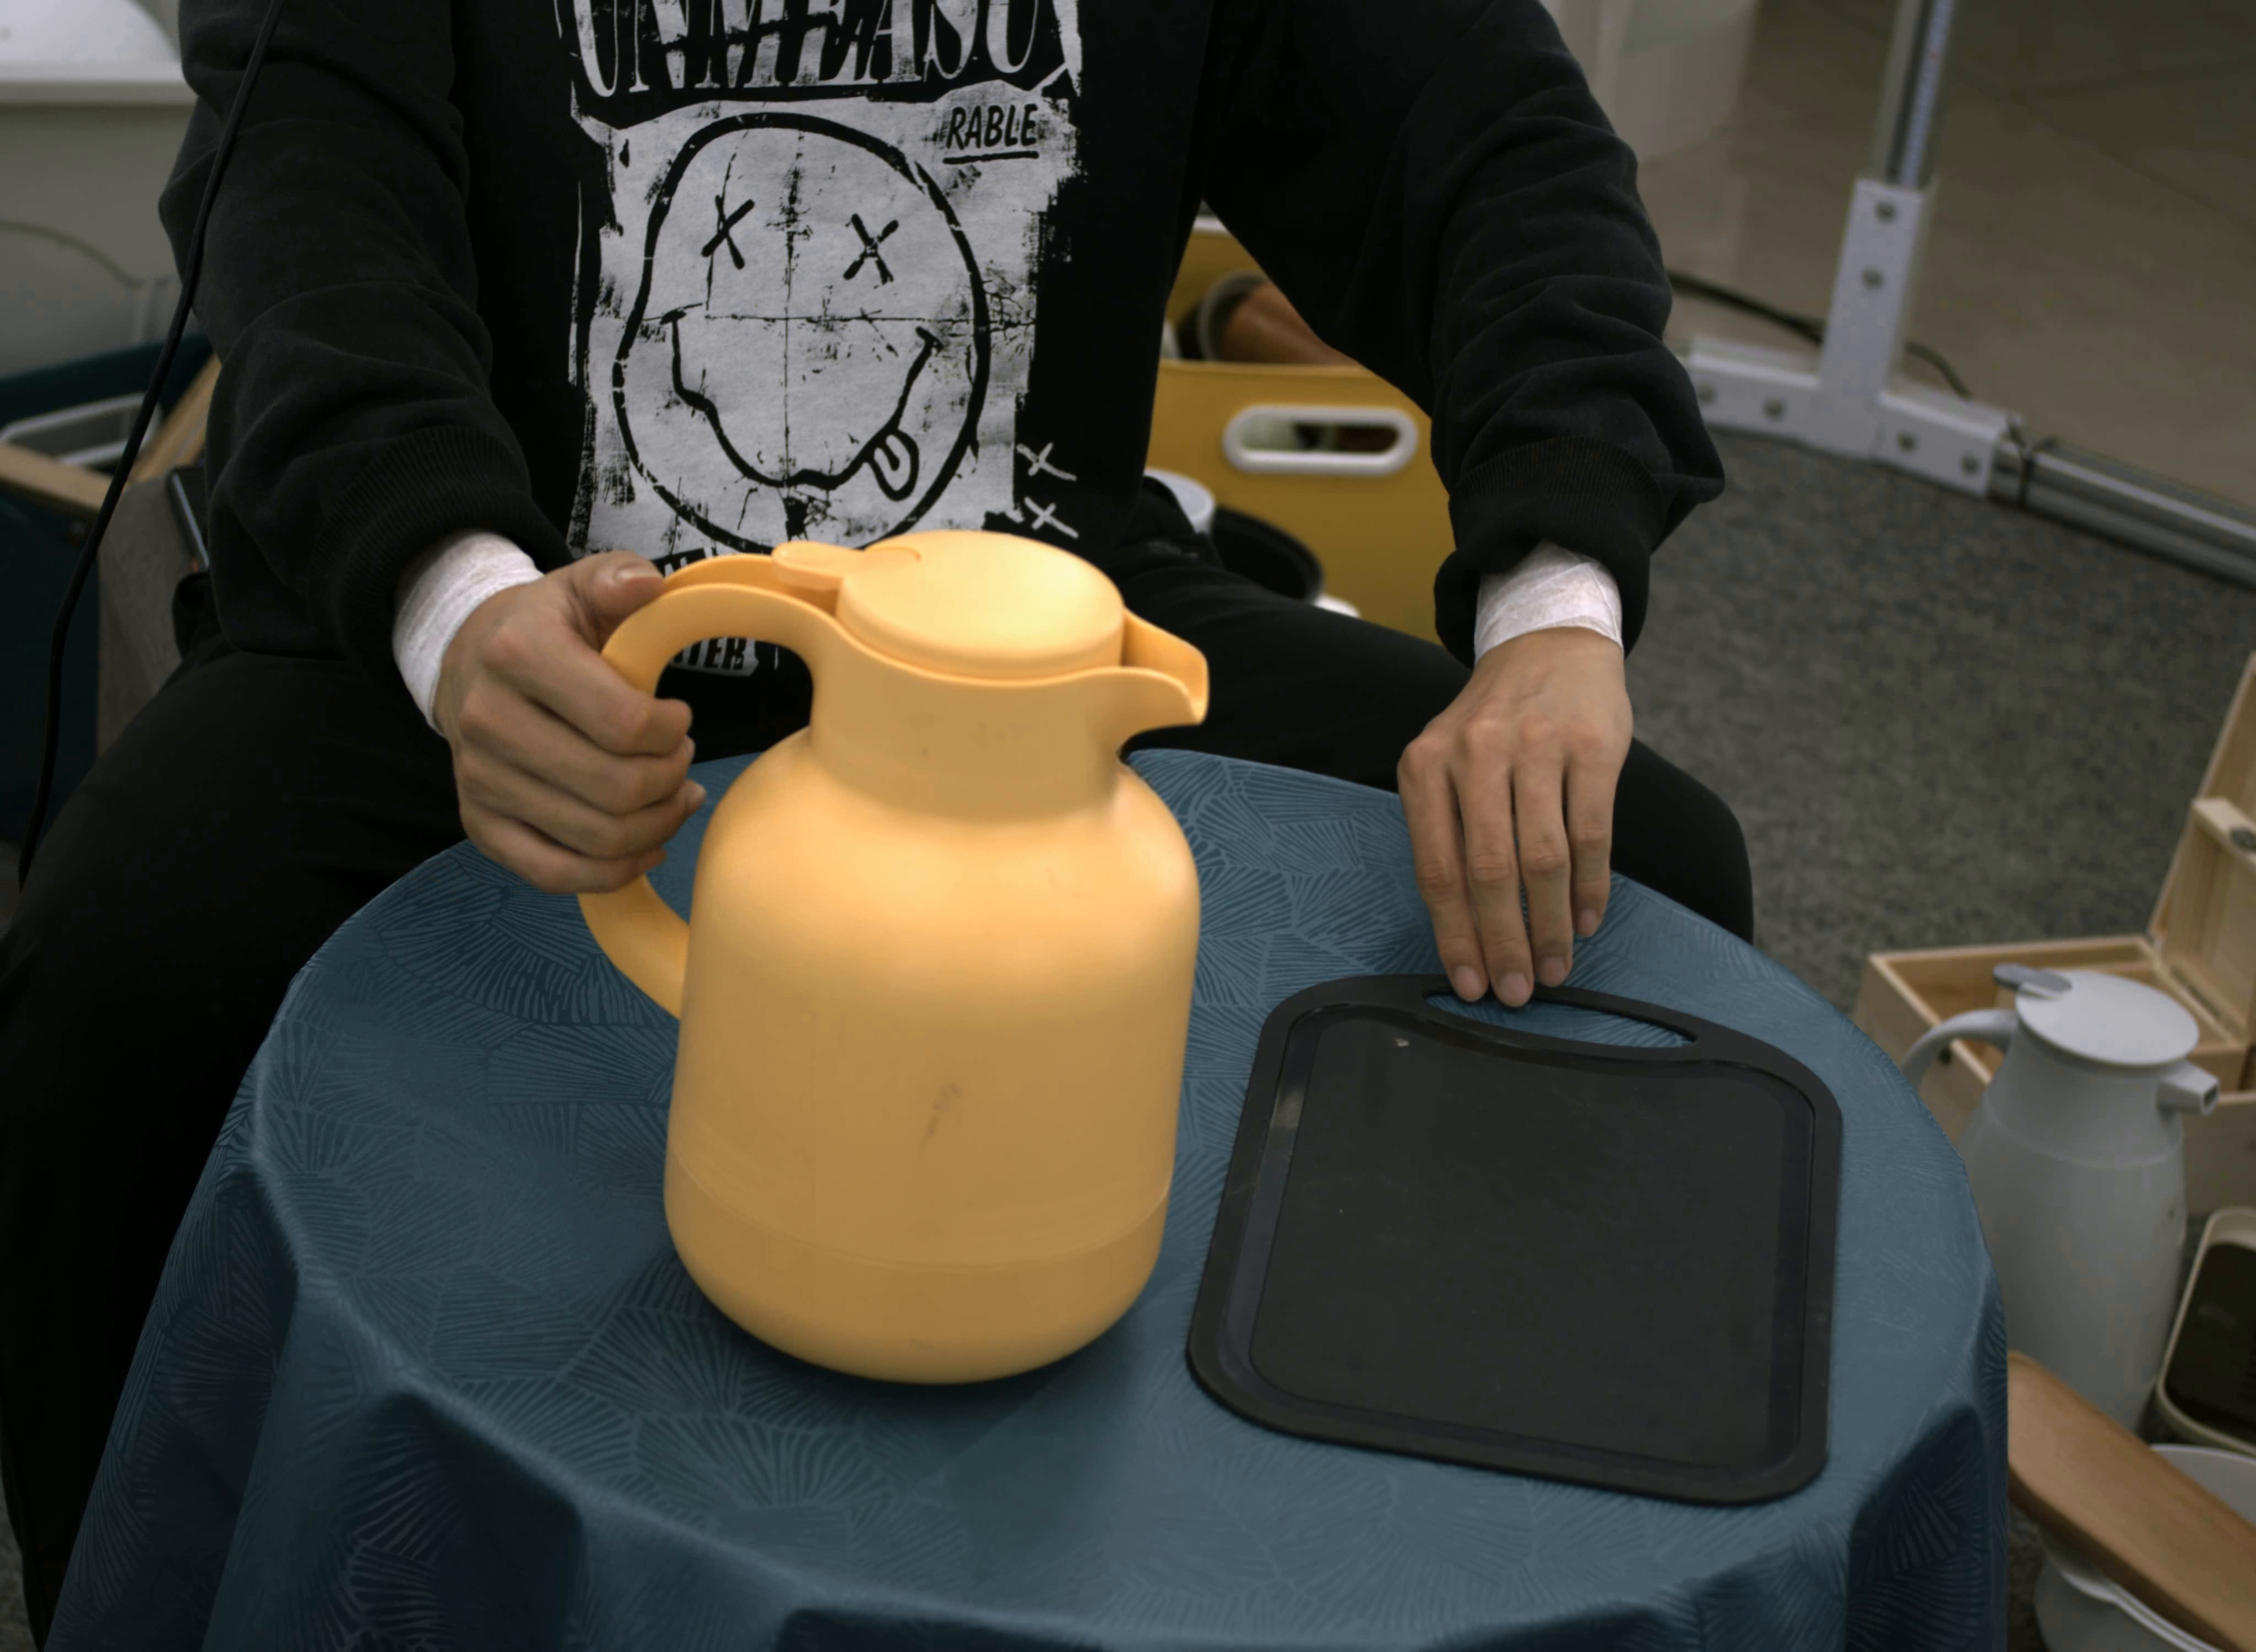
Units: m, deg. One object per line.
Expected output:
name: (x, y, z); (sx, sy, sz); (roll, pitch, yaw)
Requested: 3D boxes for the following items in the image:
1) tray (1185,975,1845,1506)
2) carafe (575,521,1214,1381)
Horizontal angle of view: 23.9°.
tray: (0.138, 0.130, 1.817); (0.211, 0.010, 0.326); (9, 27, 5)
carafe: (-0.078, 0.030, 1.683); (0.202, 0.260, 0.163); (15, 25, 12)
